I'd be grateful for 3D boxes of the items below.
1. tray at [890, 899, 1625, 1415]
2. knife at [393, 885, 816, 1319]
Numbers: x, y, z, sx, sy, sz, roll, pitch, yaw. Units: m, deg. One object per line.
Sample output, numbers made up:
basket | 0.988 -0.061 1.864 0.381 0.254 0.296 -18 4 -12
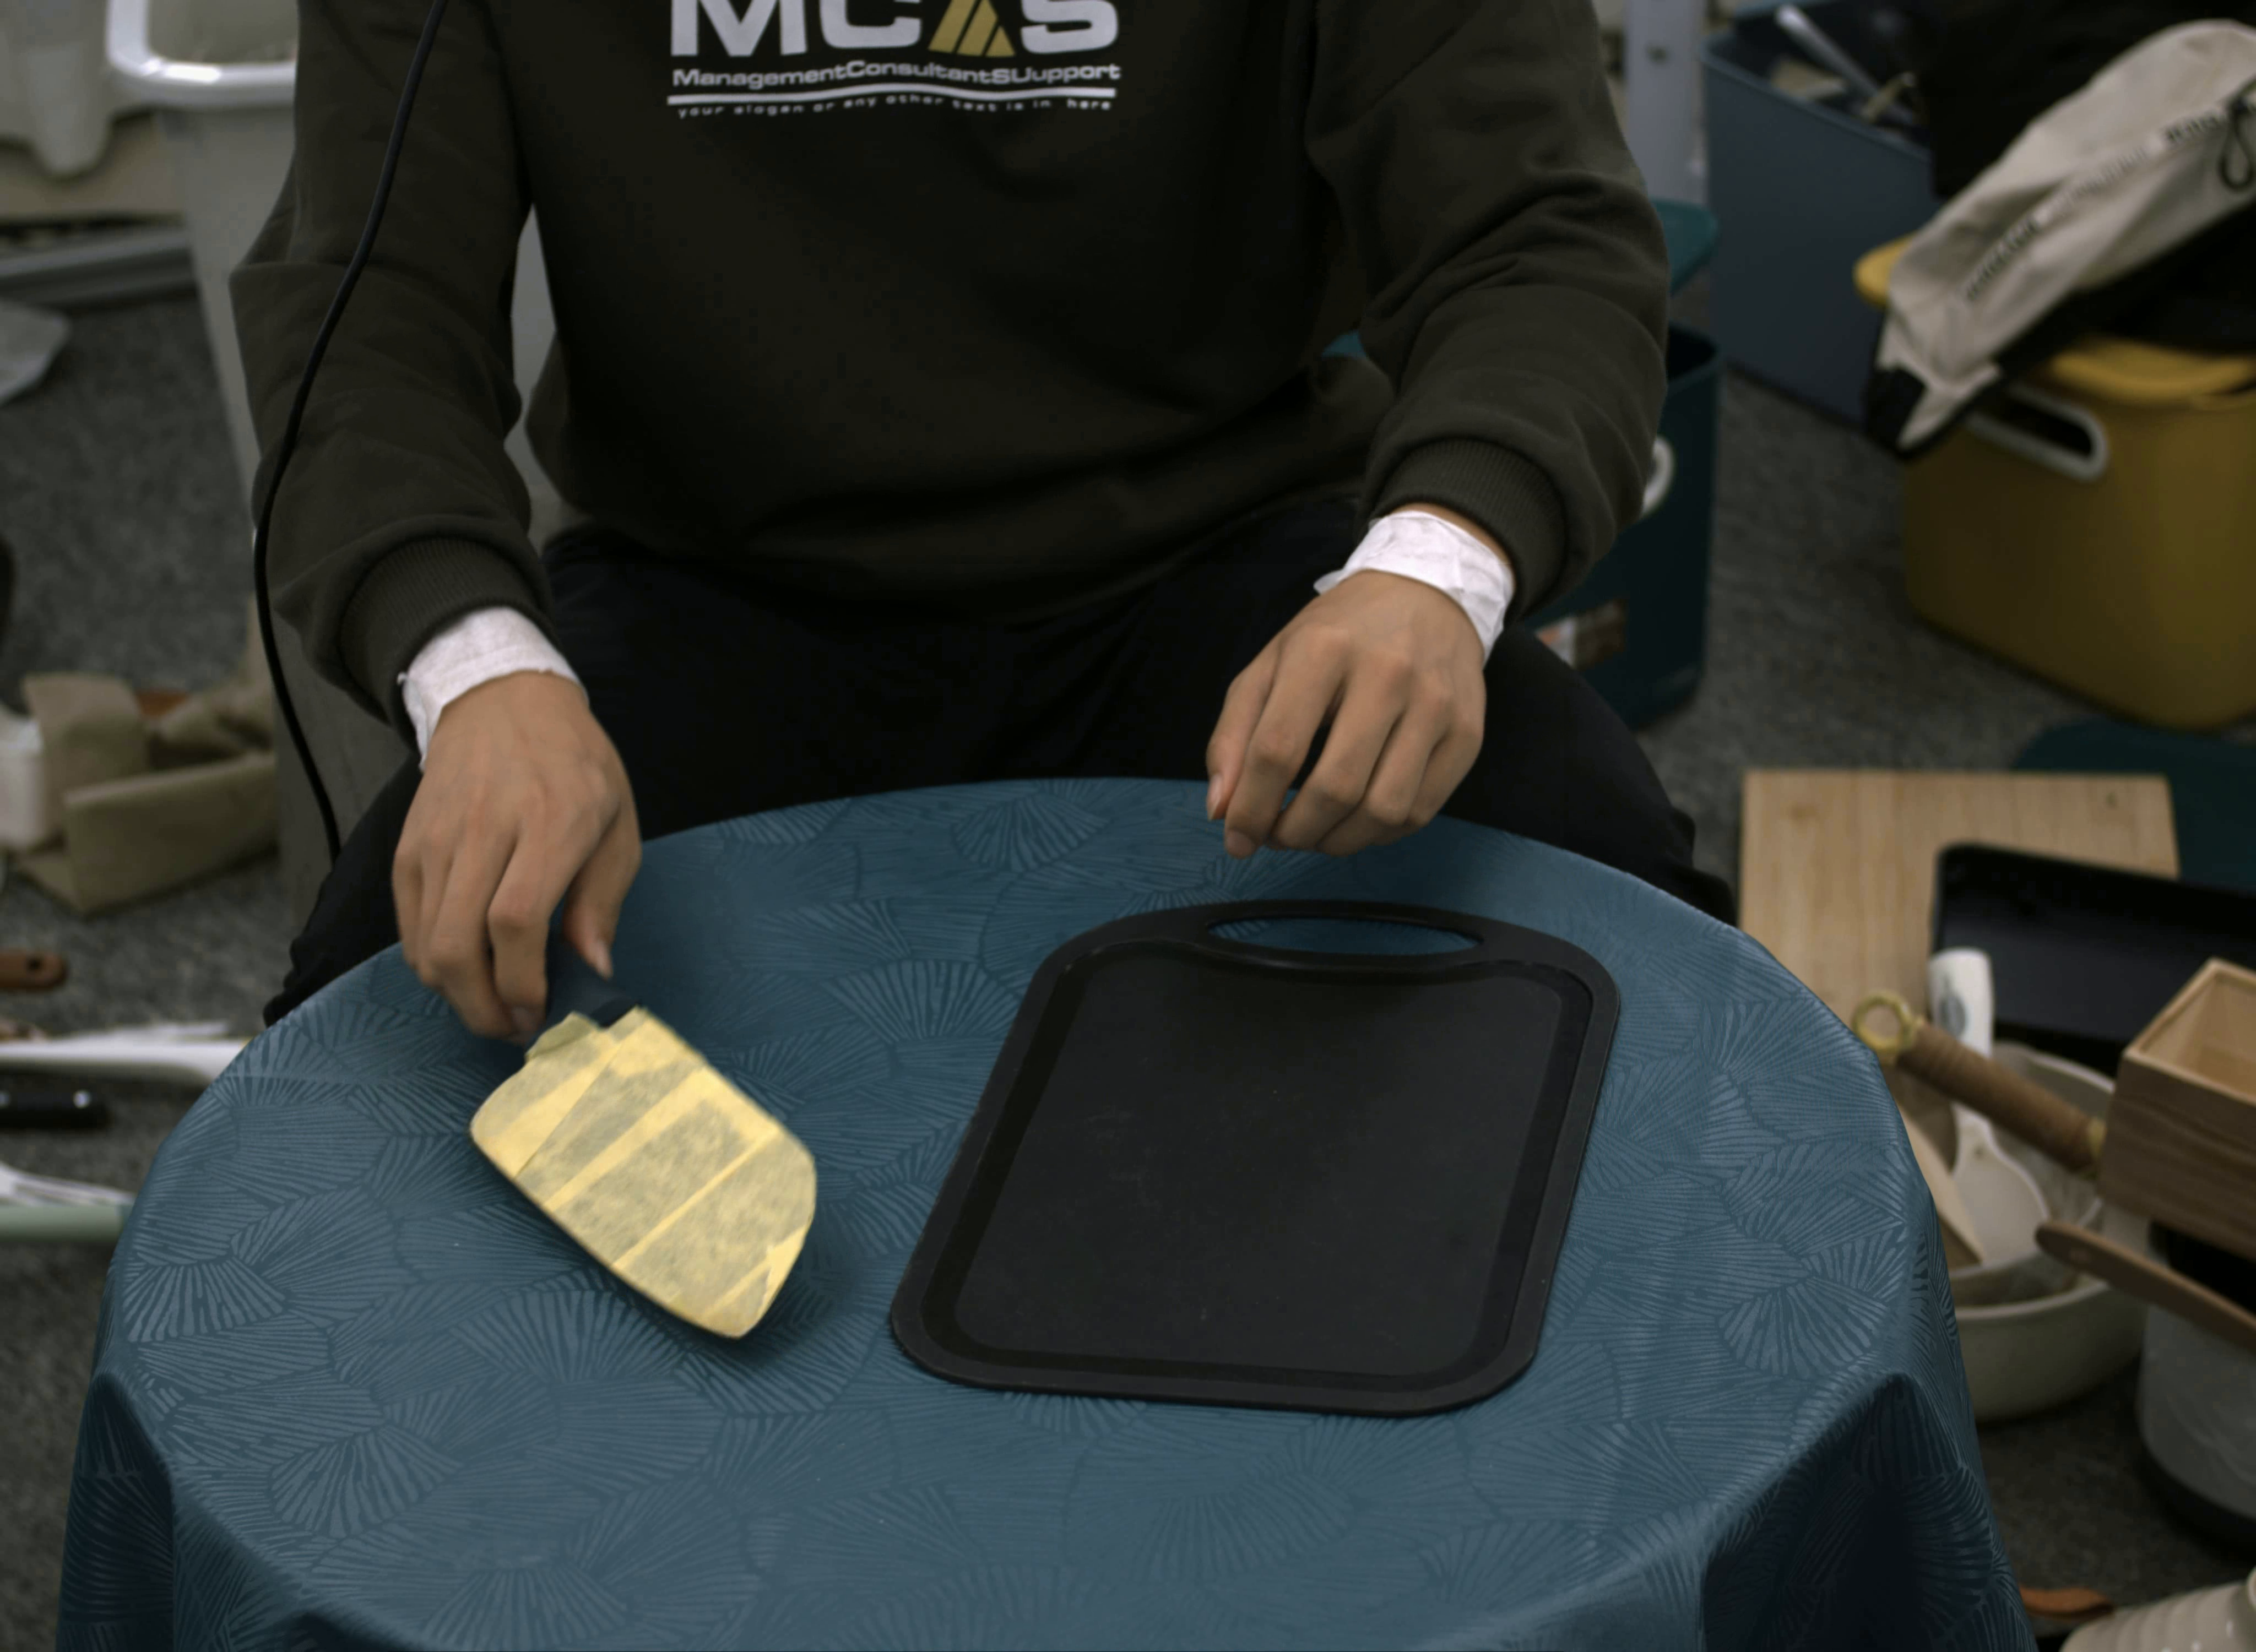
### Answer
tray | 0.050 0.102 1.887 0.209 0.009 0.331 3 28 11
knife | -0.187 0.091 1.883 0.081 0.027 0.291 -34 38 -14
